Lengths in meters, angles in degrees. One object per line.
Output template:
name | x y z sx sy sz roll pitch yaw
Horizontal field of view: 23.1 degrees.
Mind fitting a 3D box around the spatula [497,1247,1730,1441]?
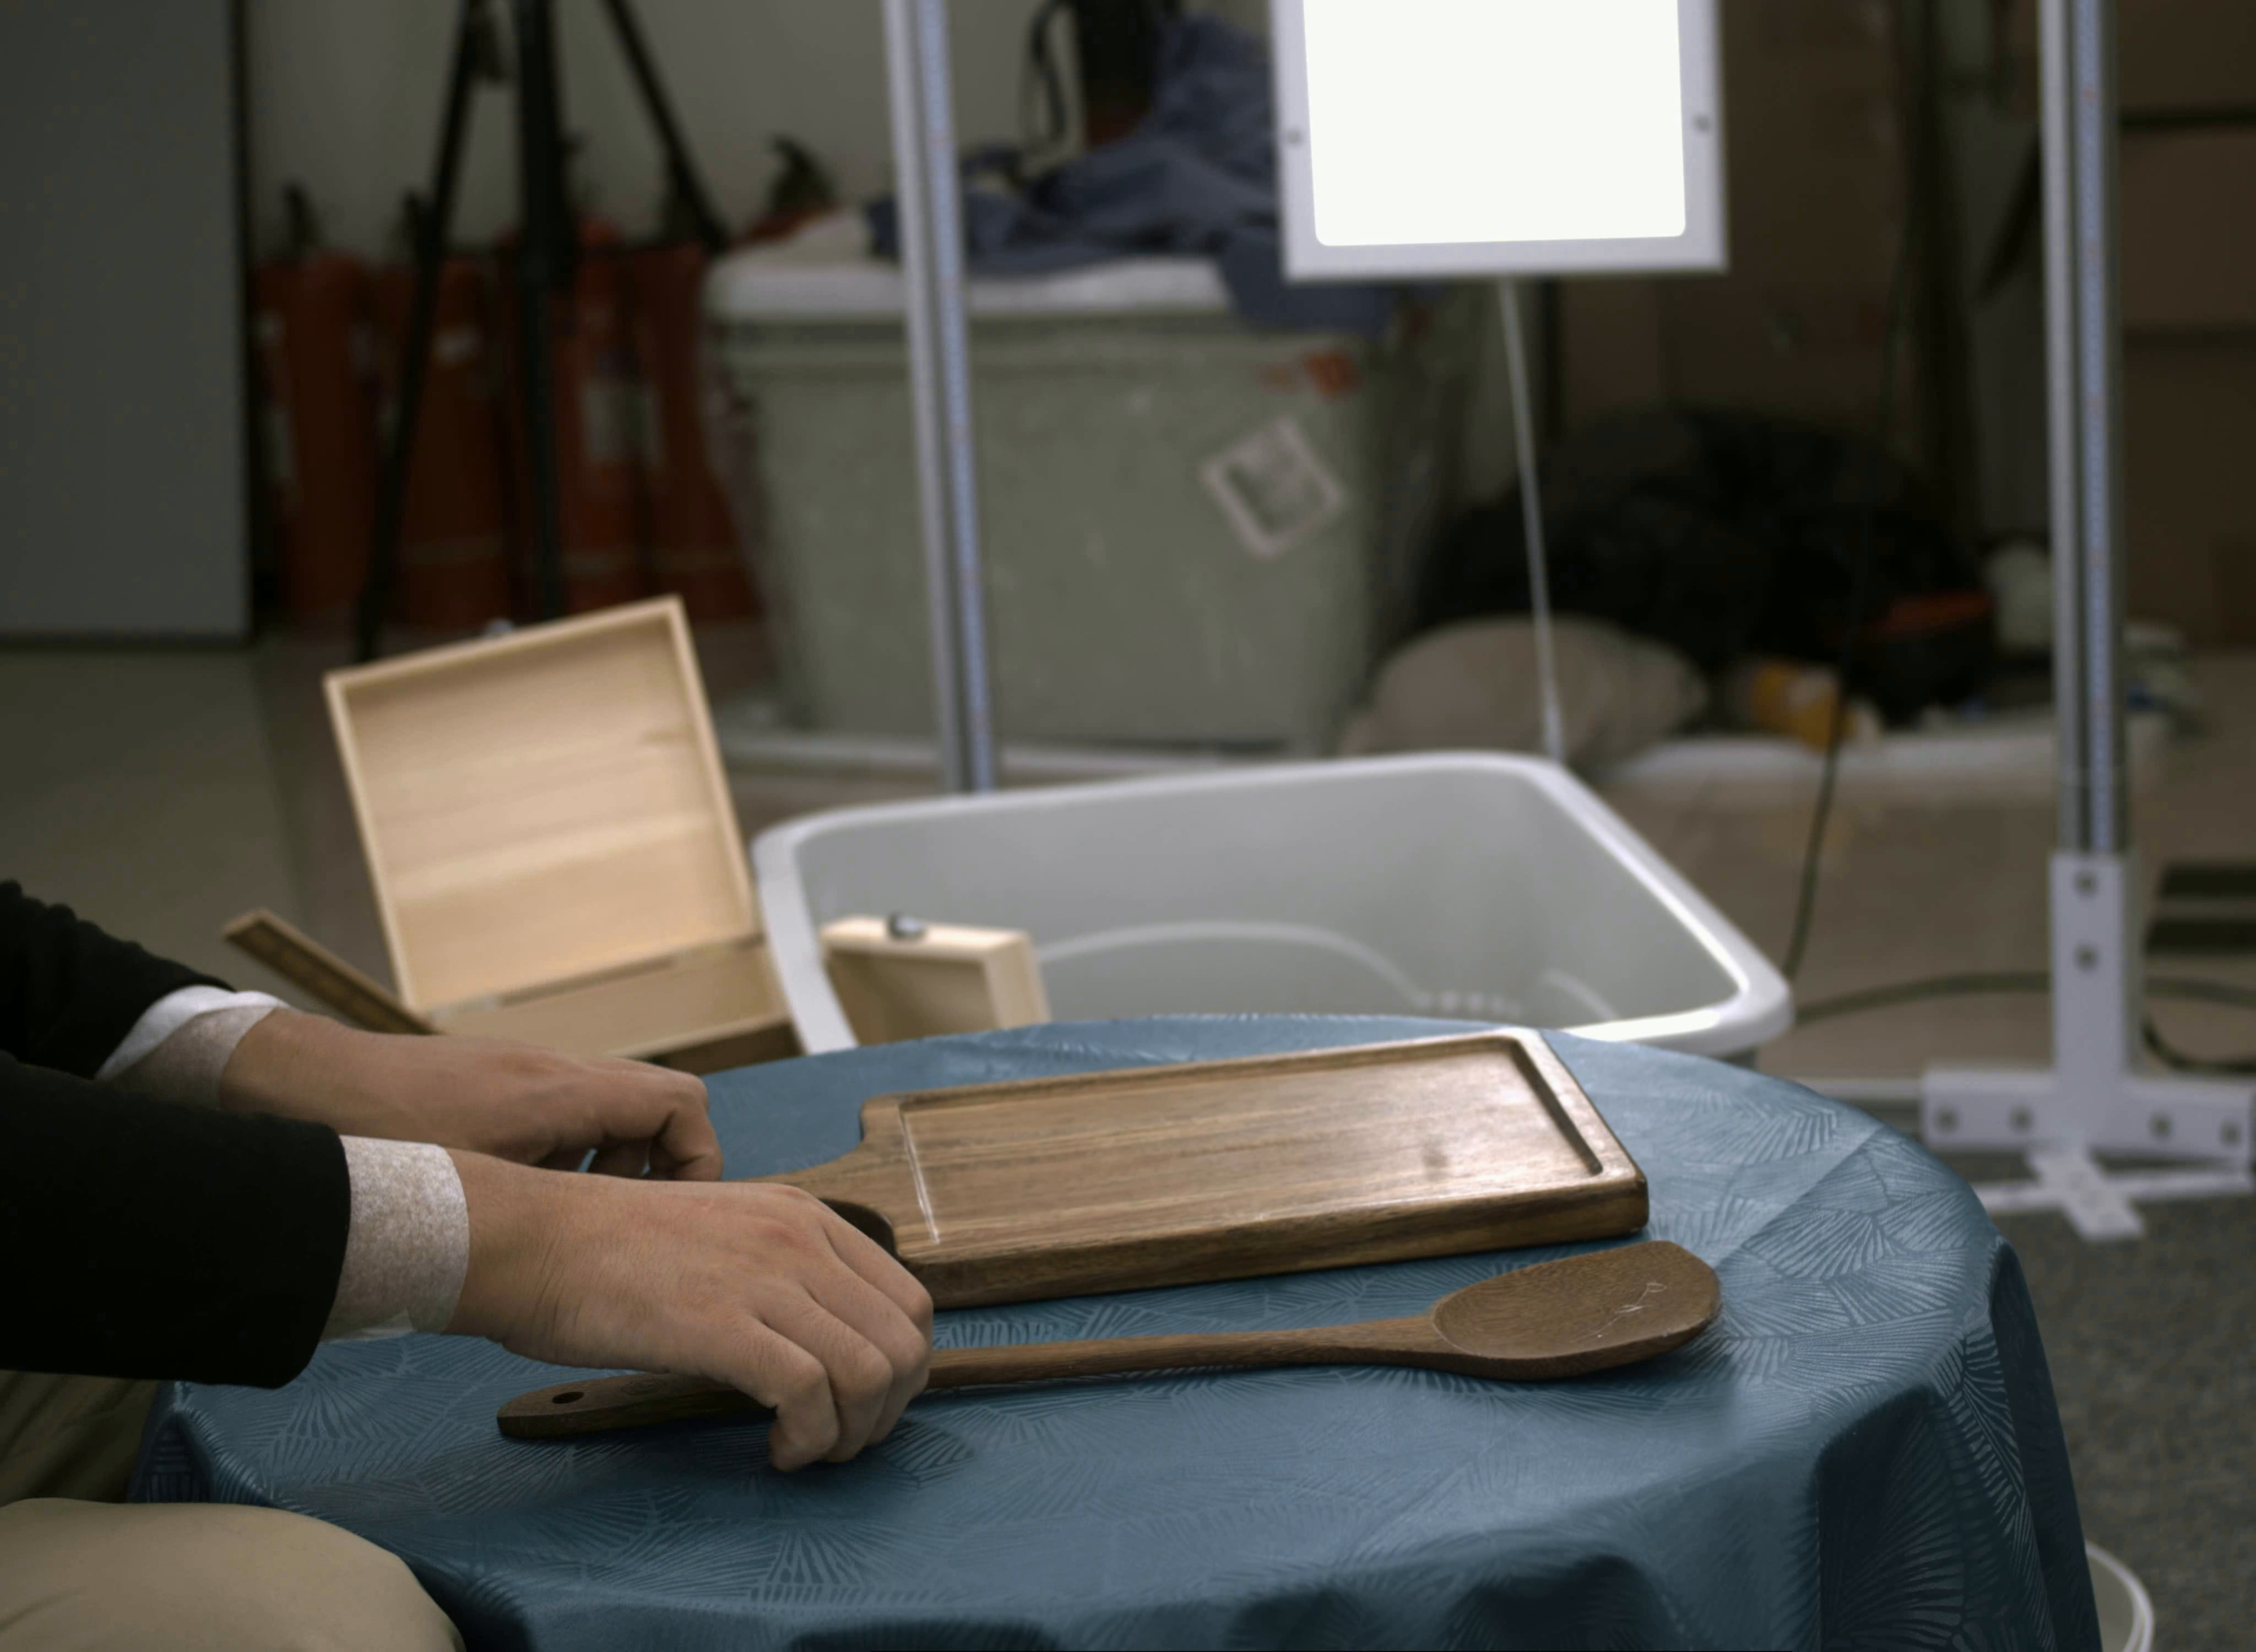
spatula | -0.005 0.165 1.712 0.385 0.016 0.096 -5 13 1

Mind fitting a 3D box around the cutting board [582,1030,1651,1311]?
cutting board | -0.011 0.120 1.885 0.350 0.023 0.201 -6 14 -4
